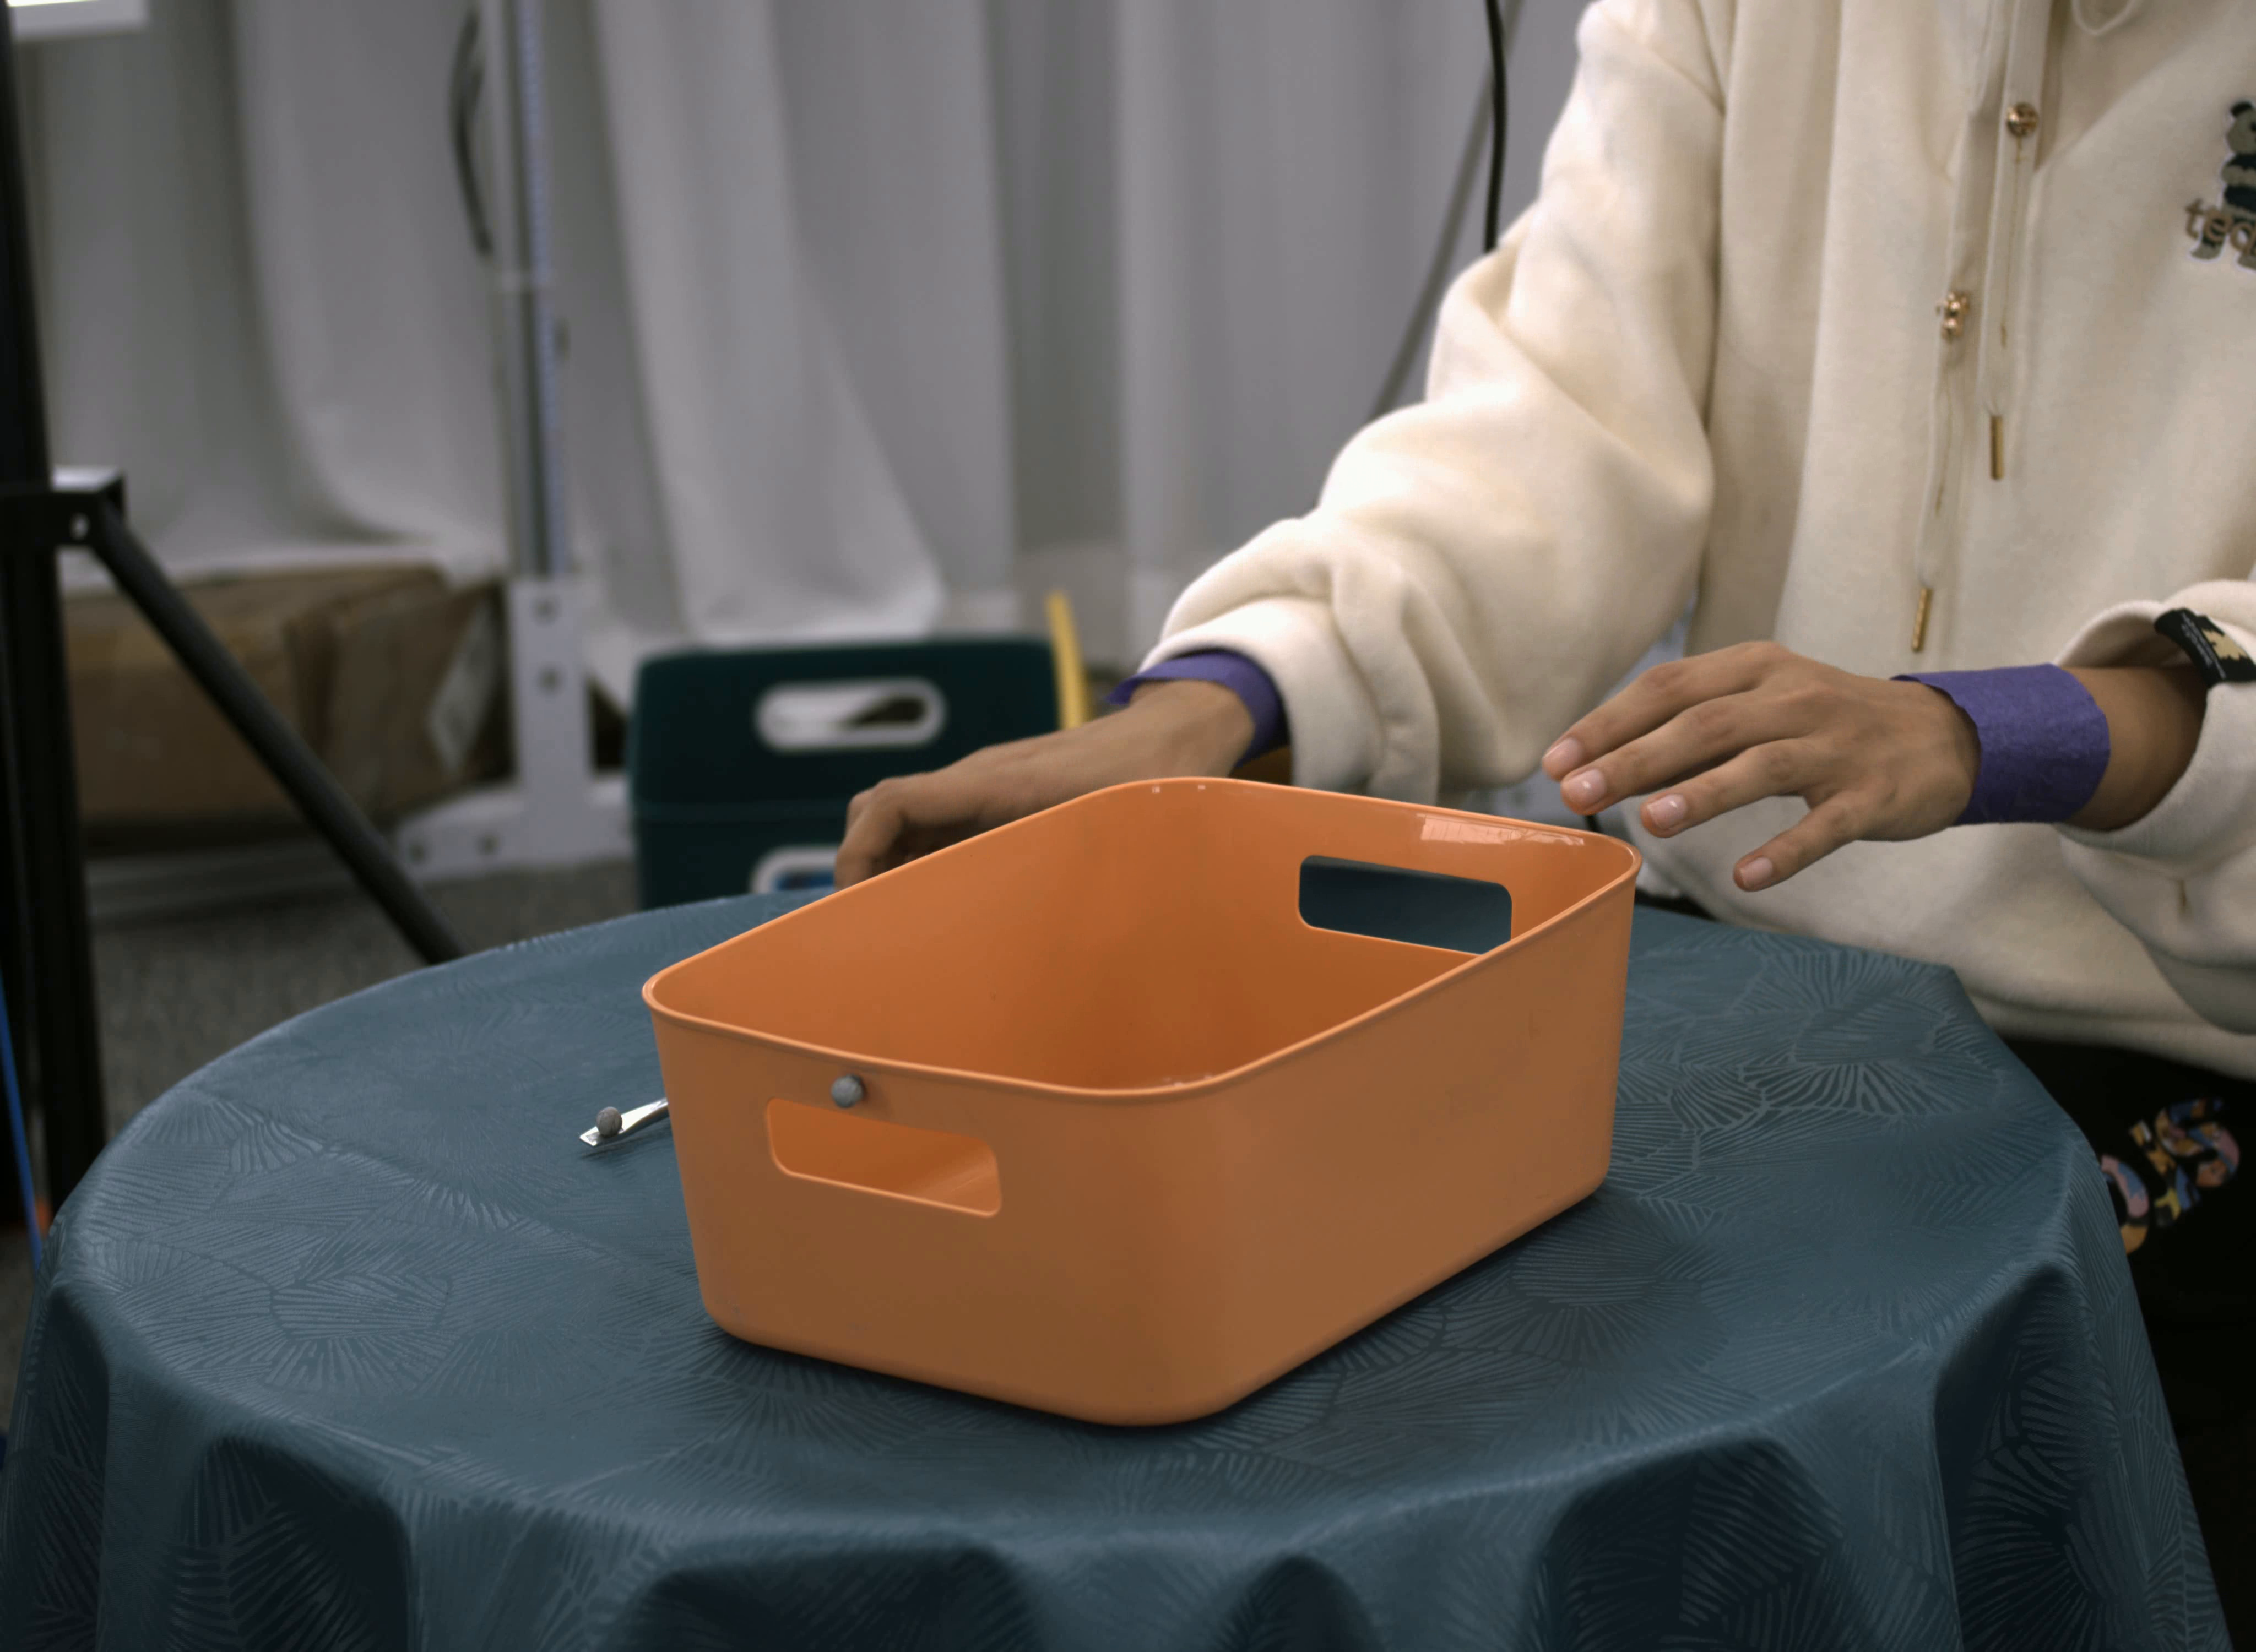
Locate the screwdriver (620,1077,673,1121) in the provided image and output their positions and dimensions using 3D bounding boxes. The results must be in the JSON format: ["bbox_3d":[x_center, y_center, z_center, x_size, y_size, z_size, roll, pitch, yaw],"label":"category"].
[{"bbox_3d":[-0.085,0.055,1.674,0.032,0.031,0.194,11,29,38],"label":"screwdriver"}]

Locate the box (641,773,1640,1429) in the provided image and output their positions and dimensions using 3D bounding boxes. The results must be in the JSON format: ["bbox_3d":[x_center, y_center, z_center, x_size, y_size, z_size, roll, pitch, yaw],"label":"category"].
[{"bbox_3d":[0.011,0.073,1.488,0.203,0.102,0.268,8,19,35],"label":"box"}]
